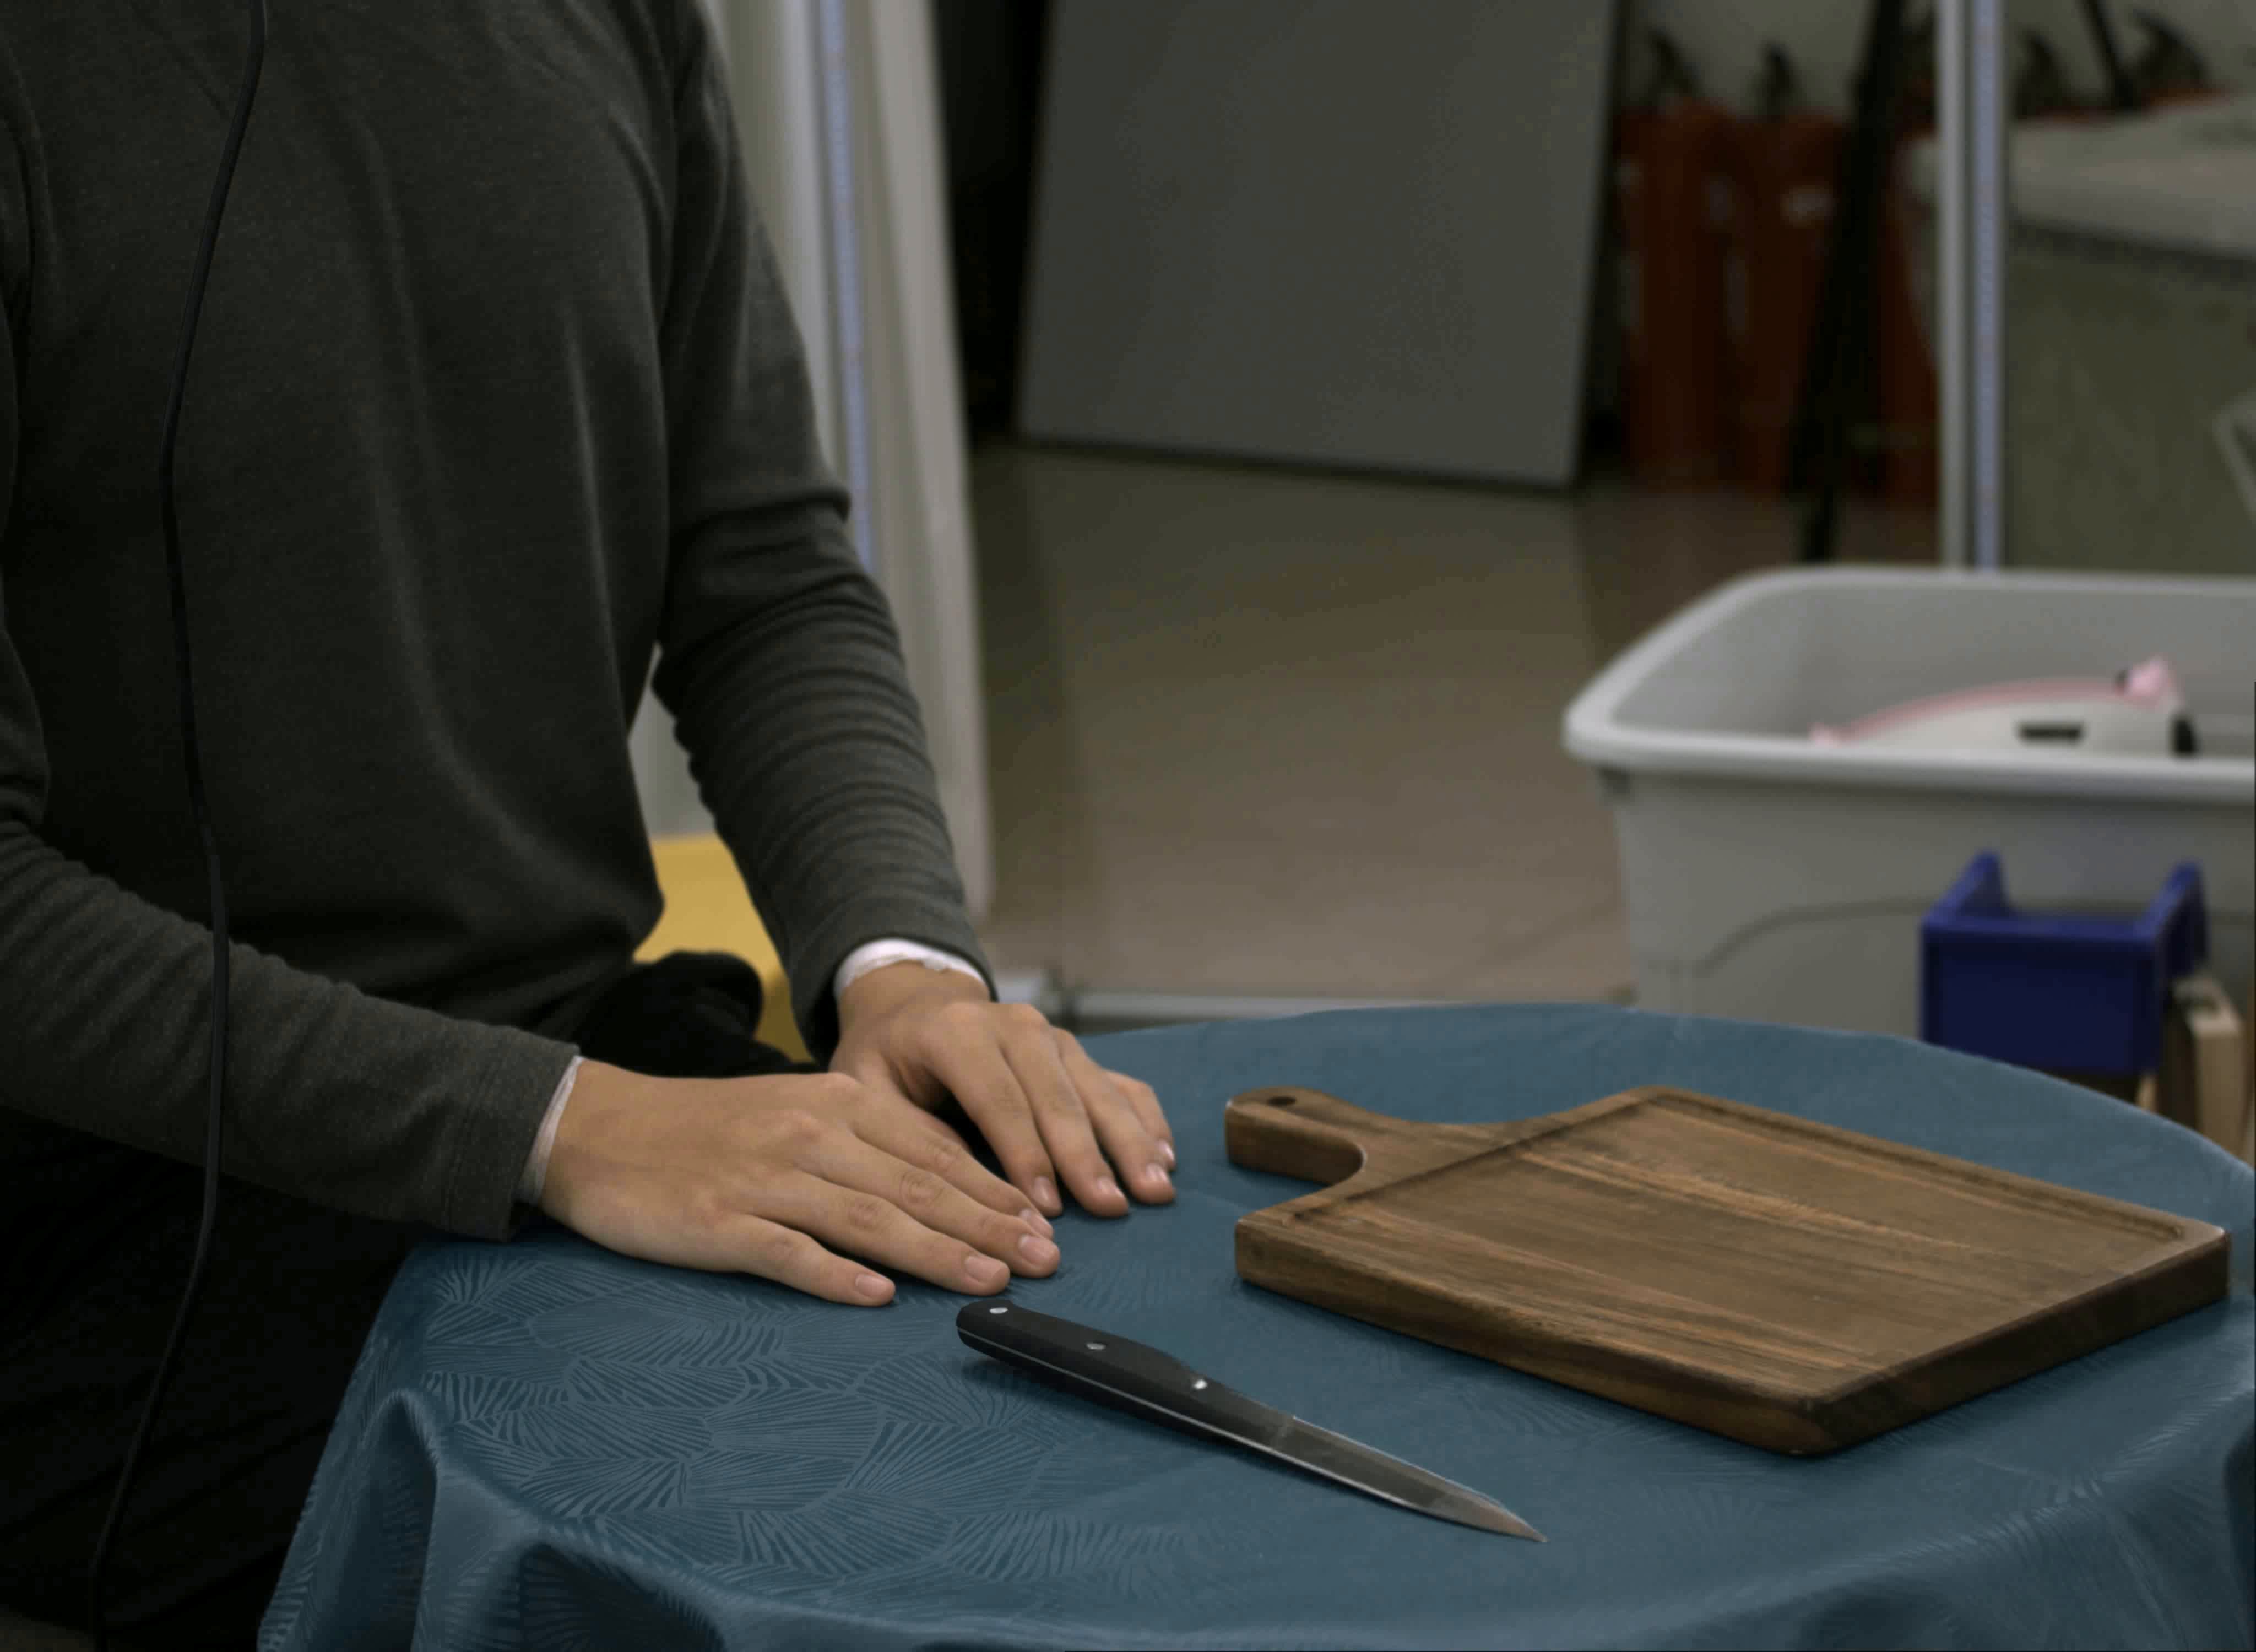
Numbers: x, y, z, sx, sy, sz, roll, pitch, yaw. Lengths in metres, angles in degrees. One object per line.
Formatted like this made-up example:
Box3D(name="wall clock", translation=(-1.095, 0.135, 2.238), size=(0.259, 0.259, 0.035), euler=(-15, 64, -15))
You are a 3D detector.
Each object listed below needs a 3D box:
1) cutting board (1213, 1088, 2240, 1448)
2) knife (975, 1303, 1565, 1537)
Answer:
Box3D(name="cutting board", translation=(0.150, 0.123, 1.678), size=(0.197, 0.023, 0.356), euler=(-14, 16, -38))
Box3D(name="knife", translation=(0.035, 0.171, 1.534), size=(0.024, 0.016, 0.240), euler=(-19, 22, -39))
